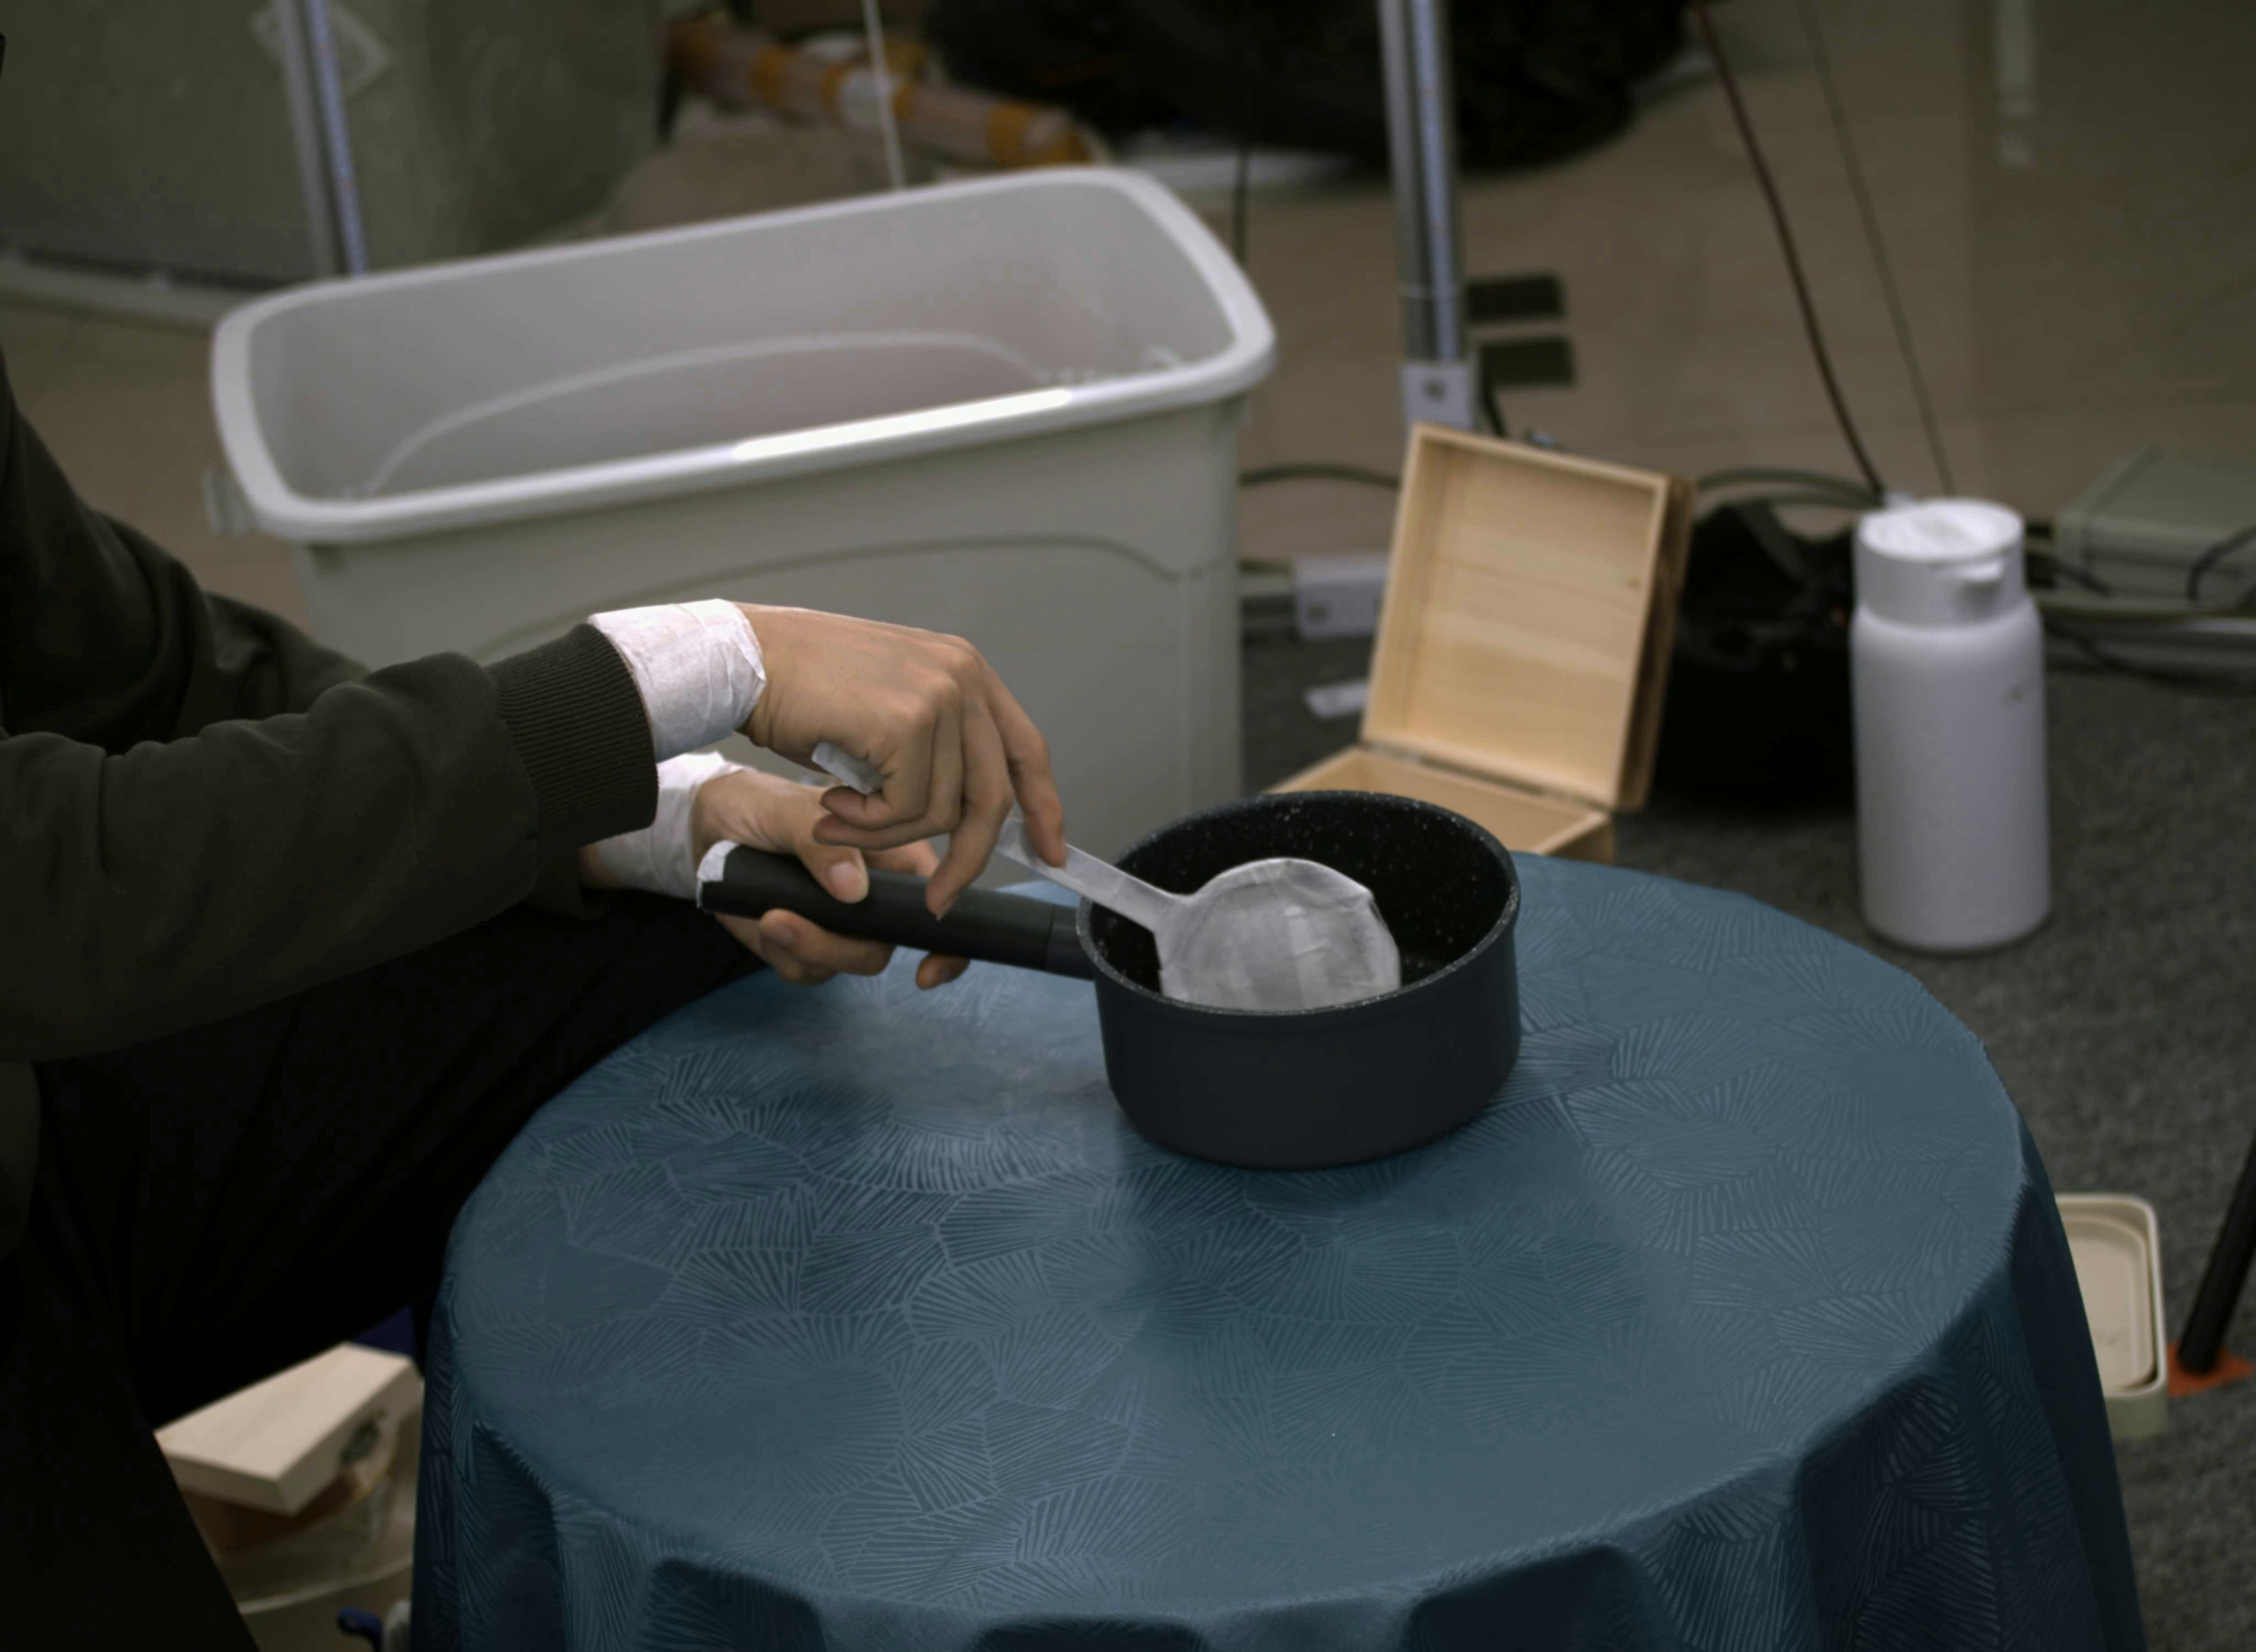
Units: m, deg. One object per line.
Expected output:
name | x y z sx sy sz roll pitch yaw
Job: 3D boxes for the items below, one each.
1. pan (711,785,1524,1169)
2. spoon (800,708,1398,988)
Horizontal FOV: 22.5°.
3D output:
pan | -0.006 0.053 2.221 0.328 0.088 0.169 4 31 17
spoon | -0.007 0.014 2.121 0.280 0.100 0.059 29 -6 -41
